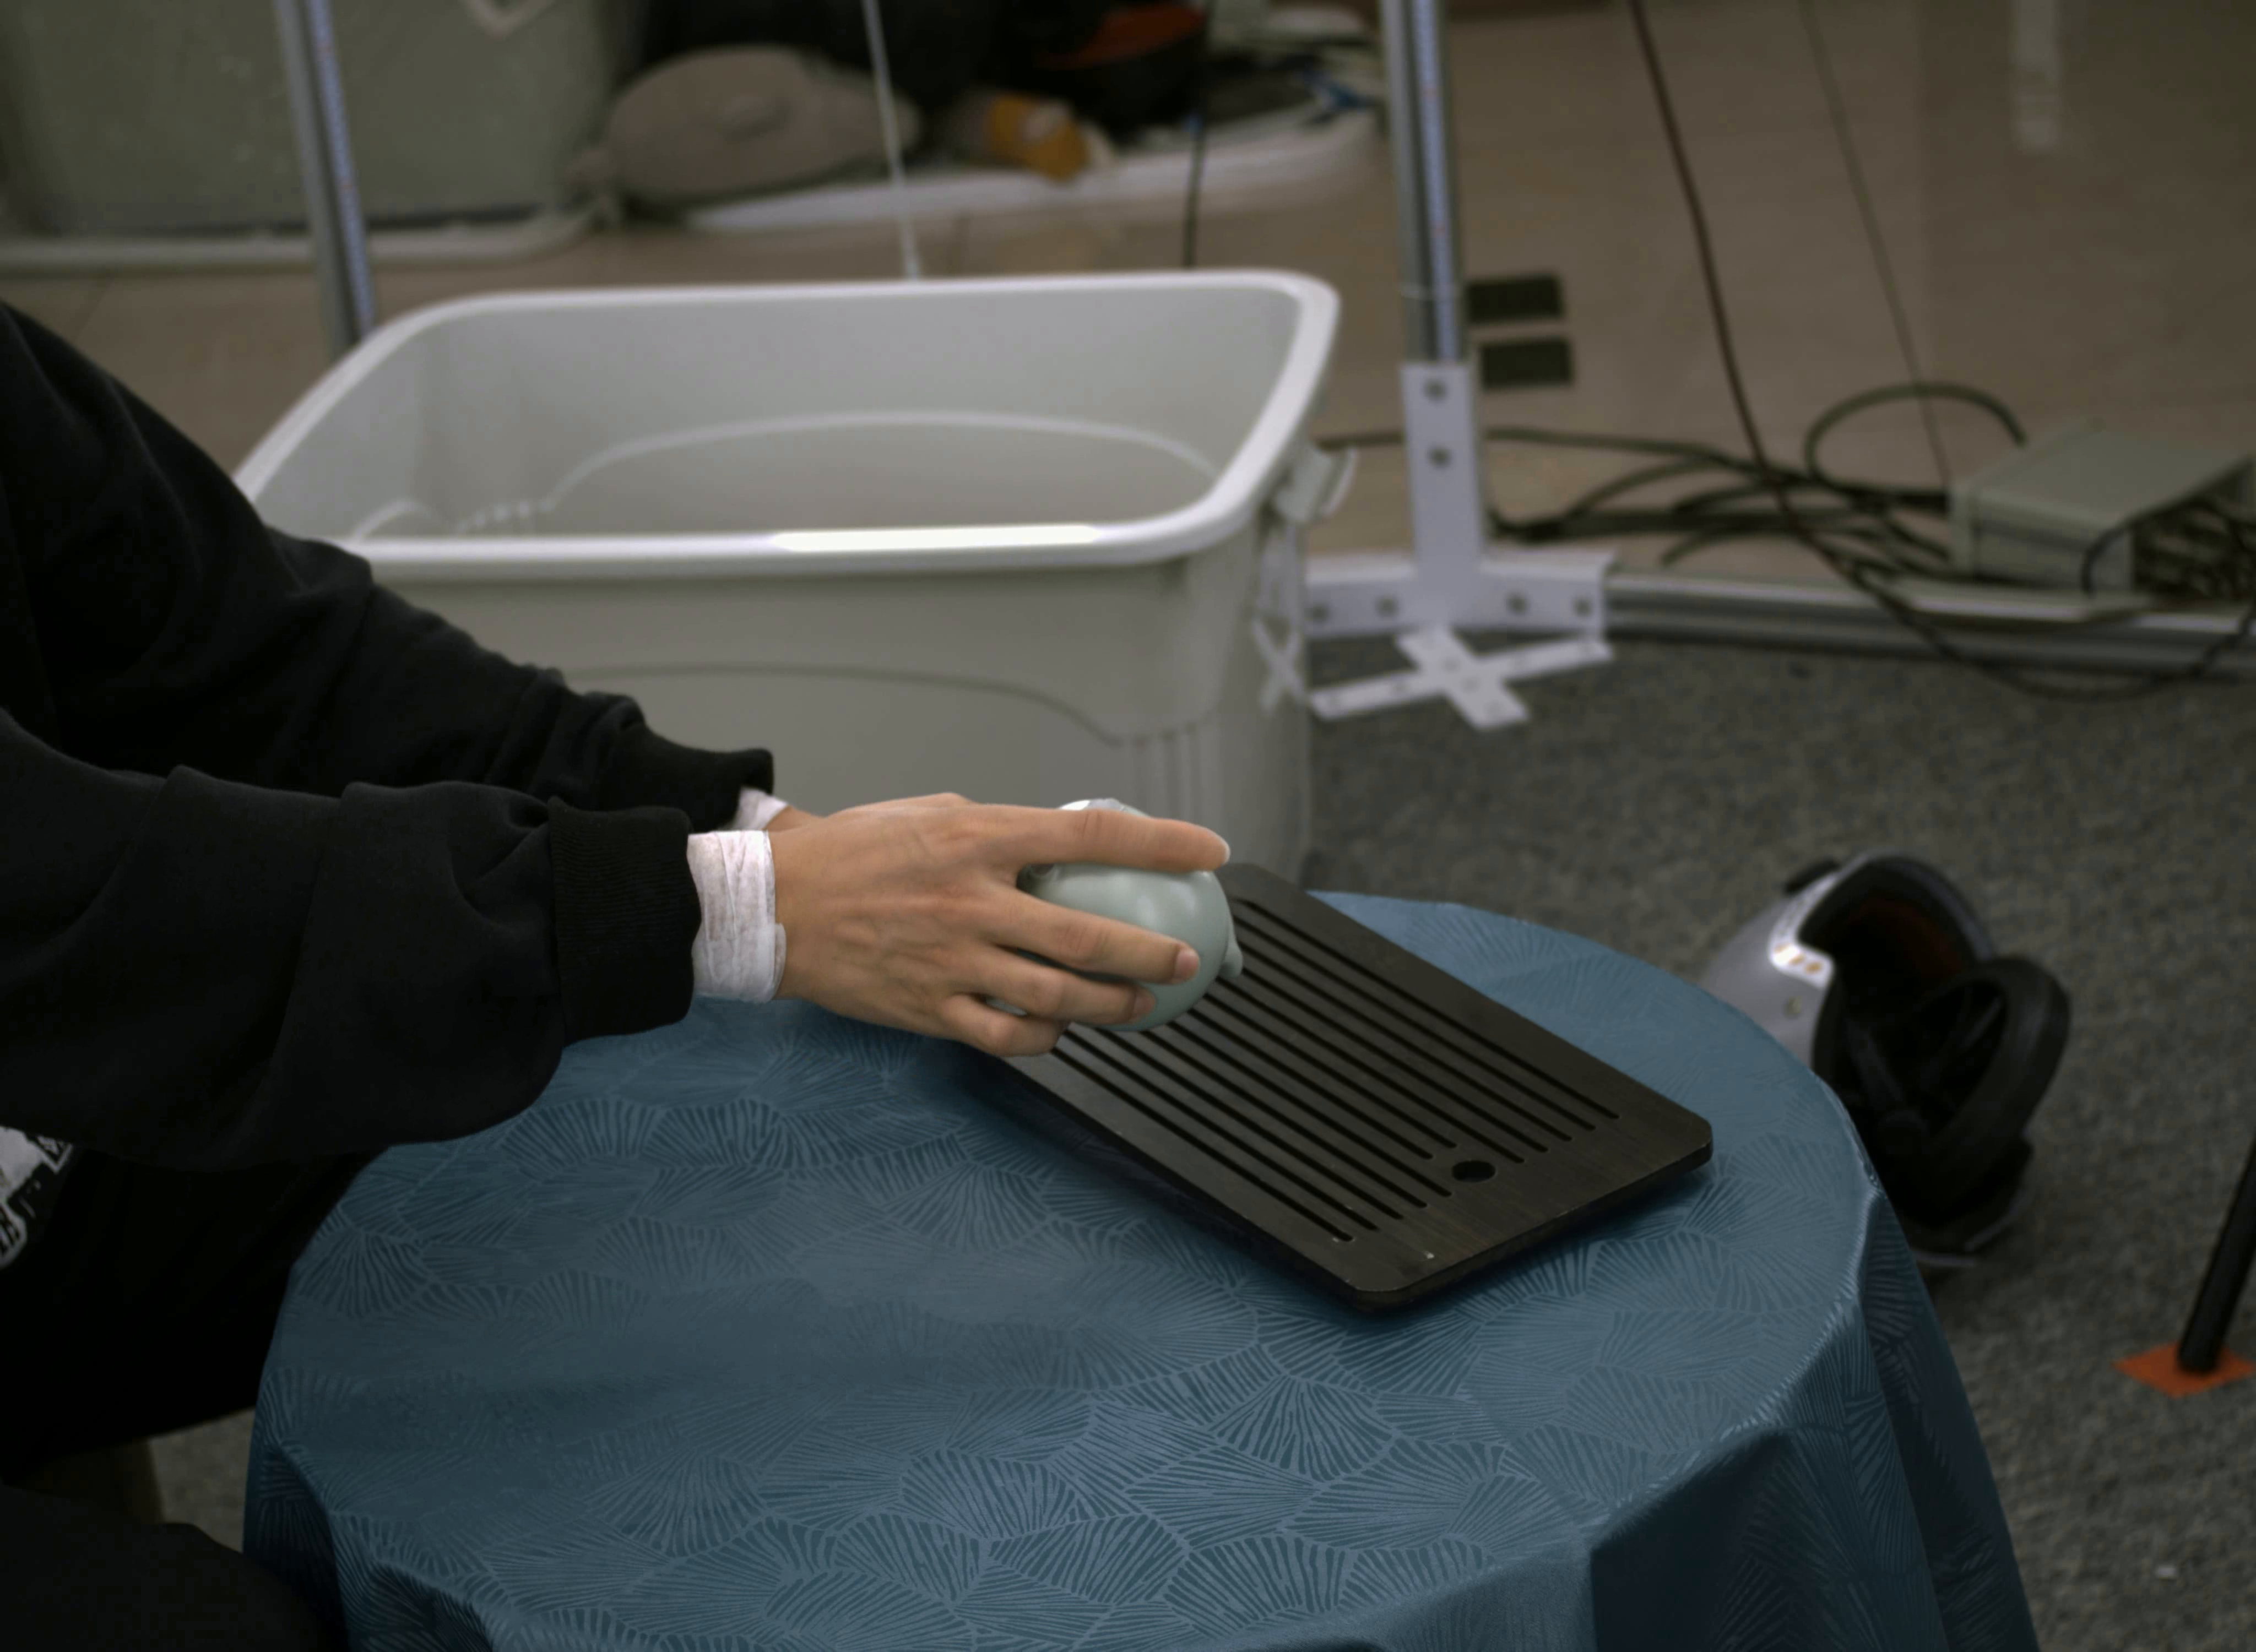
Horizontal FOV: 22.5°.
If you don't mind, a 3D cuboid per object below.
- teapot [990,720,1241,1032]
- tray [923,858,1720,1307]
[{"bbox_3d":[-0.006,0.032,2.048,0.087,0.146,0.074,21,62,41],"label":"teapot"},{"bbox_3d":[0.070,0.096,2.183,0.169,0.019,0.302,-22,33,-29],"label":"tray"}]
